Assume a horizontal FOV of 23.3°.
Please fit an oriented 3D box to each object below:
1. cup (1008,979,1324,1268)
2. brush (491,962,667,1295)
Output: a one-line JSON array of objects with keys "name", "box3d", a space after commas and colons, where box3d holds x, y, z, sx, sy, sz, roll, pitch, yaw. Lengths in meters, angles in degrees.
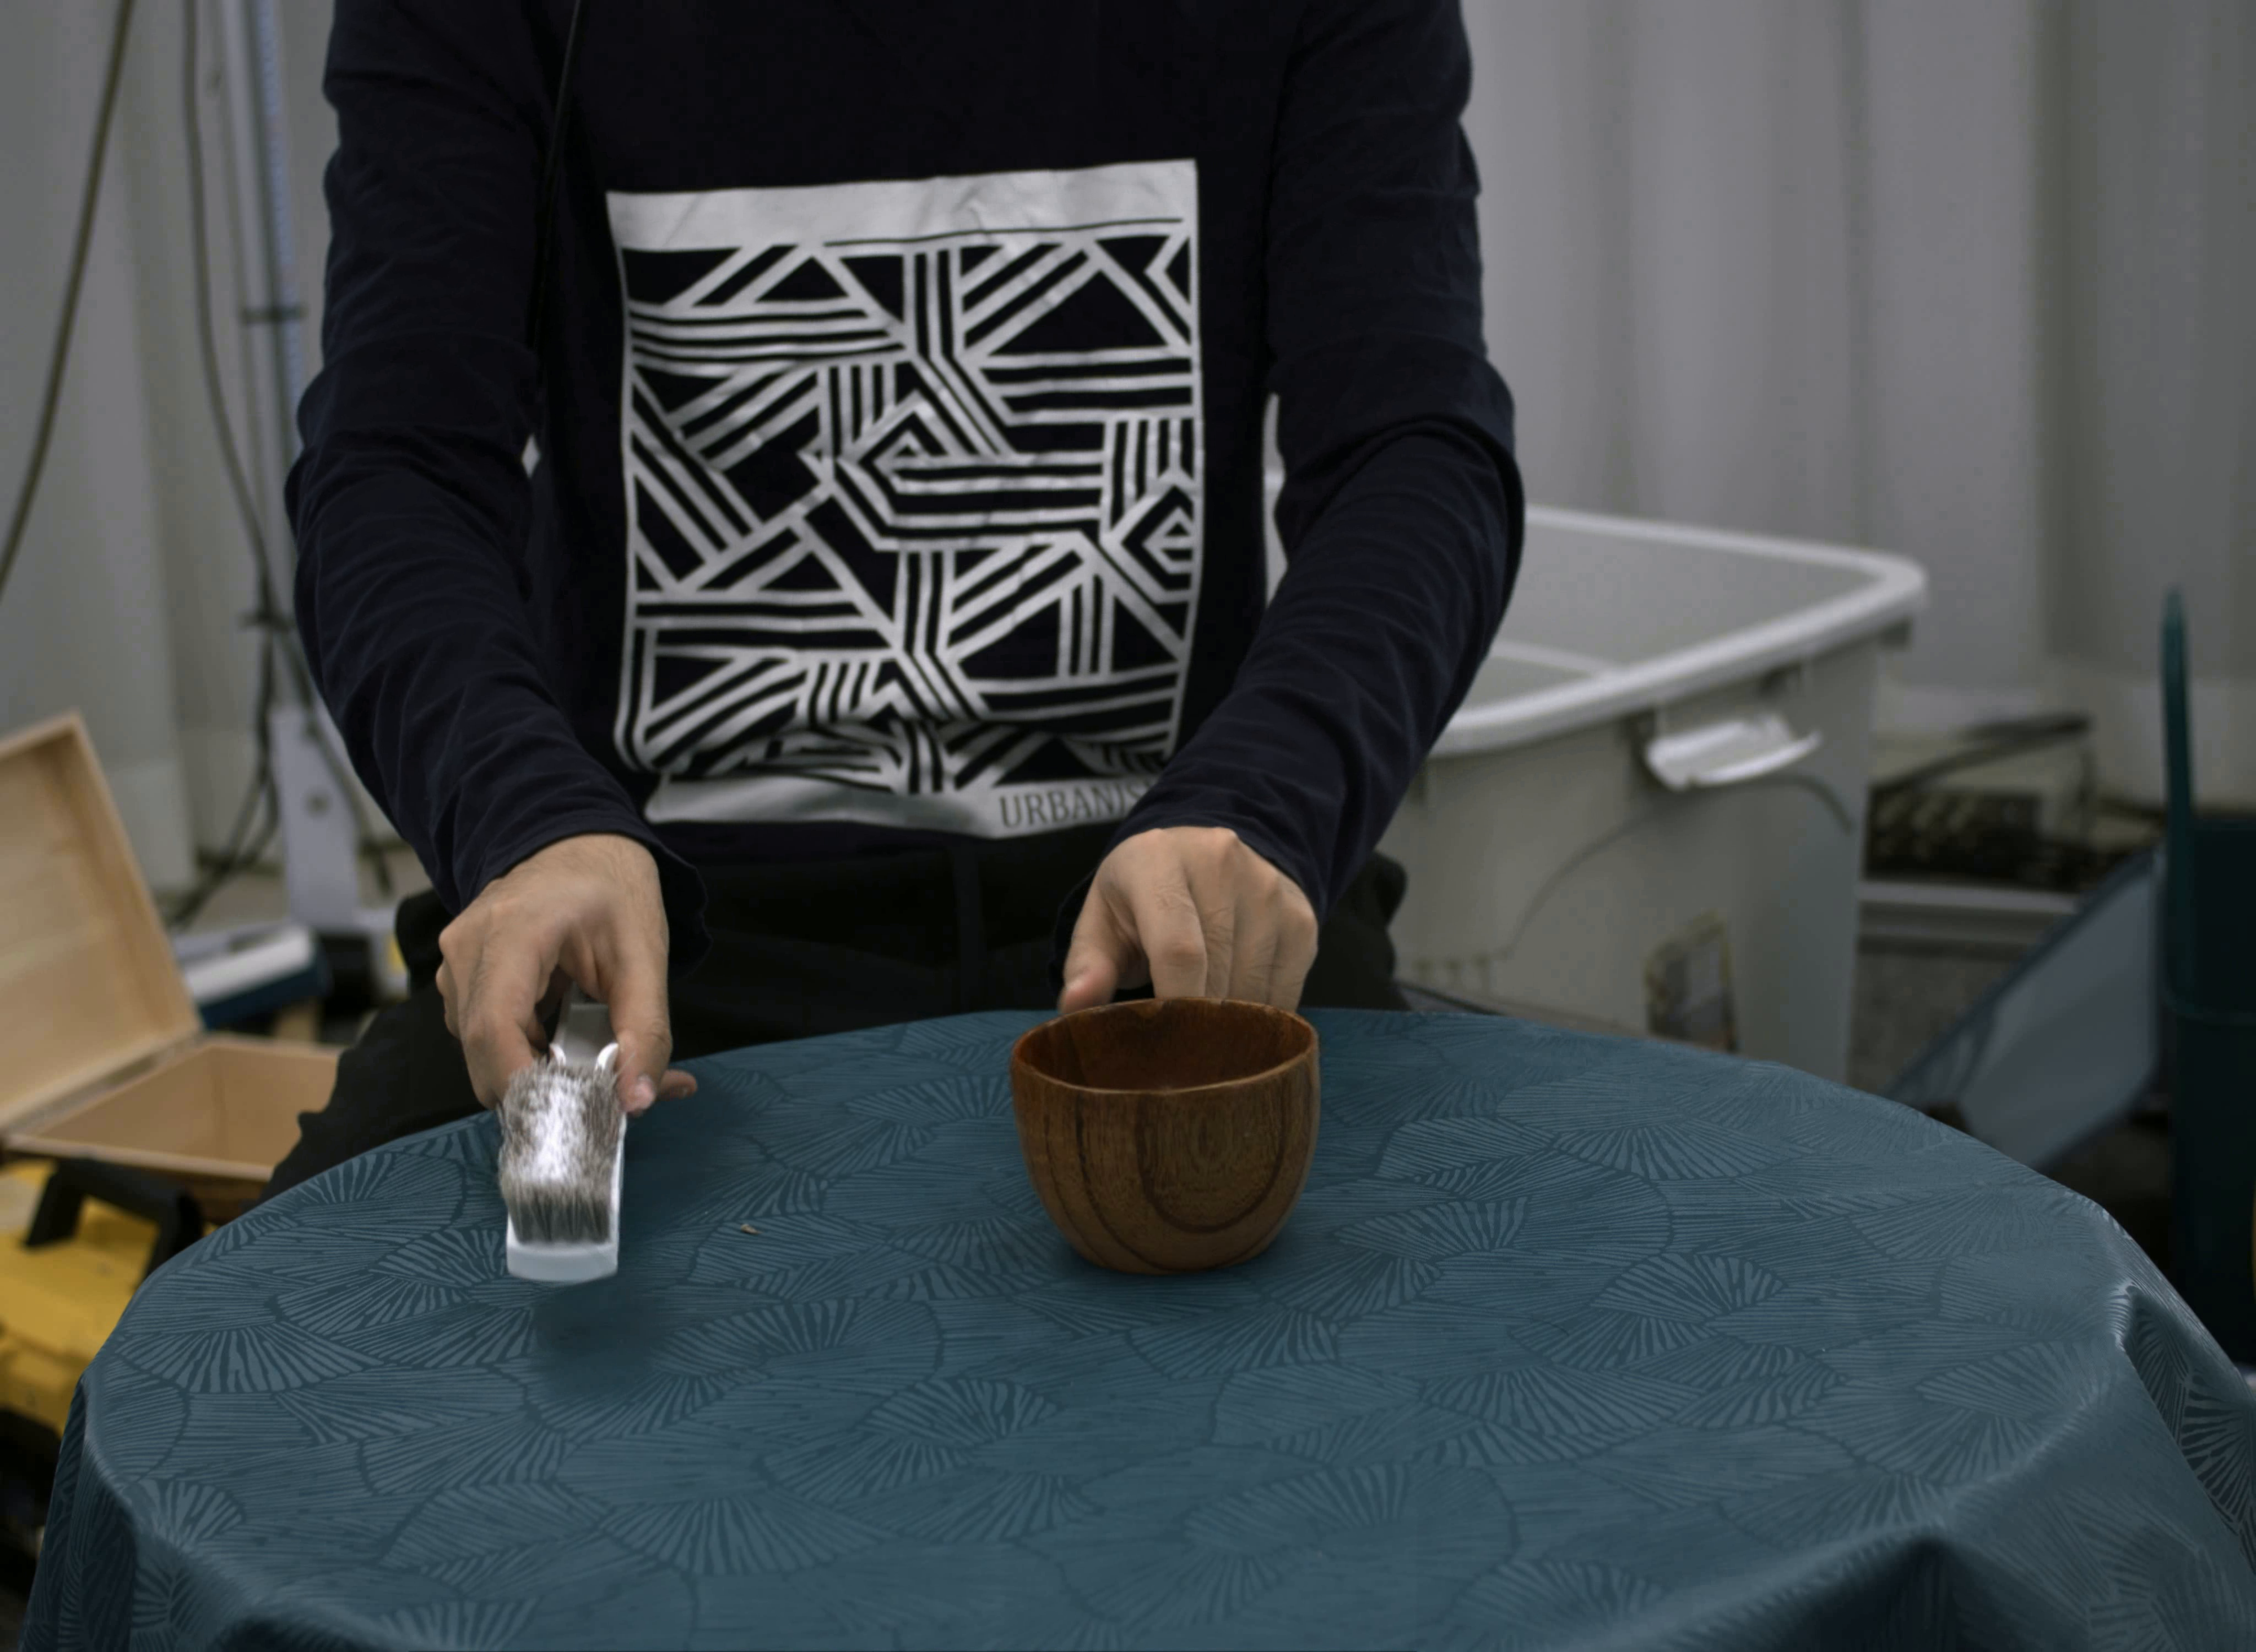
[{"name": "cup", "box3d": [0.012, 0.089, 1.672, 0.096, 0.067, 0.120, -6, 17, -6]}, {"name": "brush", "box3d": [-0.166, 0.074, 1.691, 0.034, 0.050, 0.246, -4, 21, 2]}]
